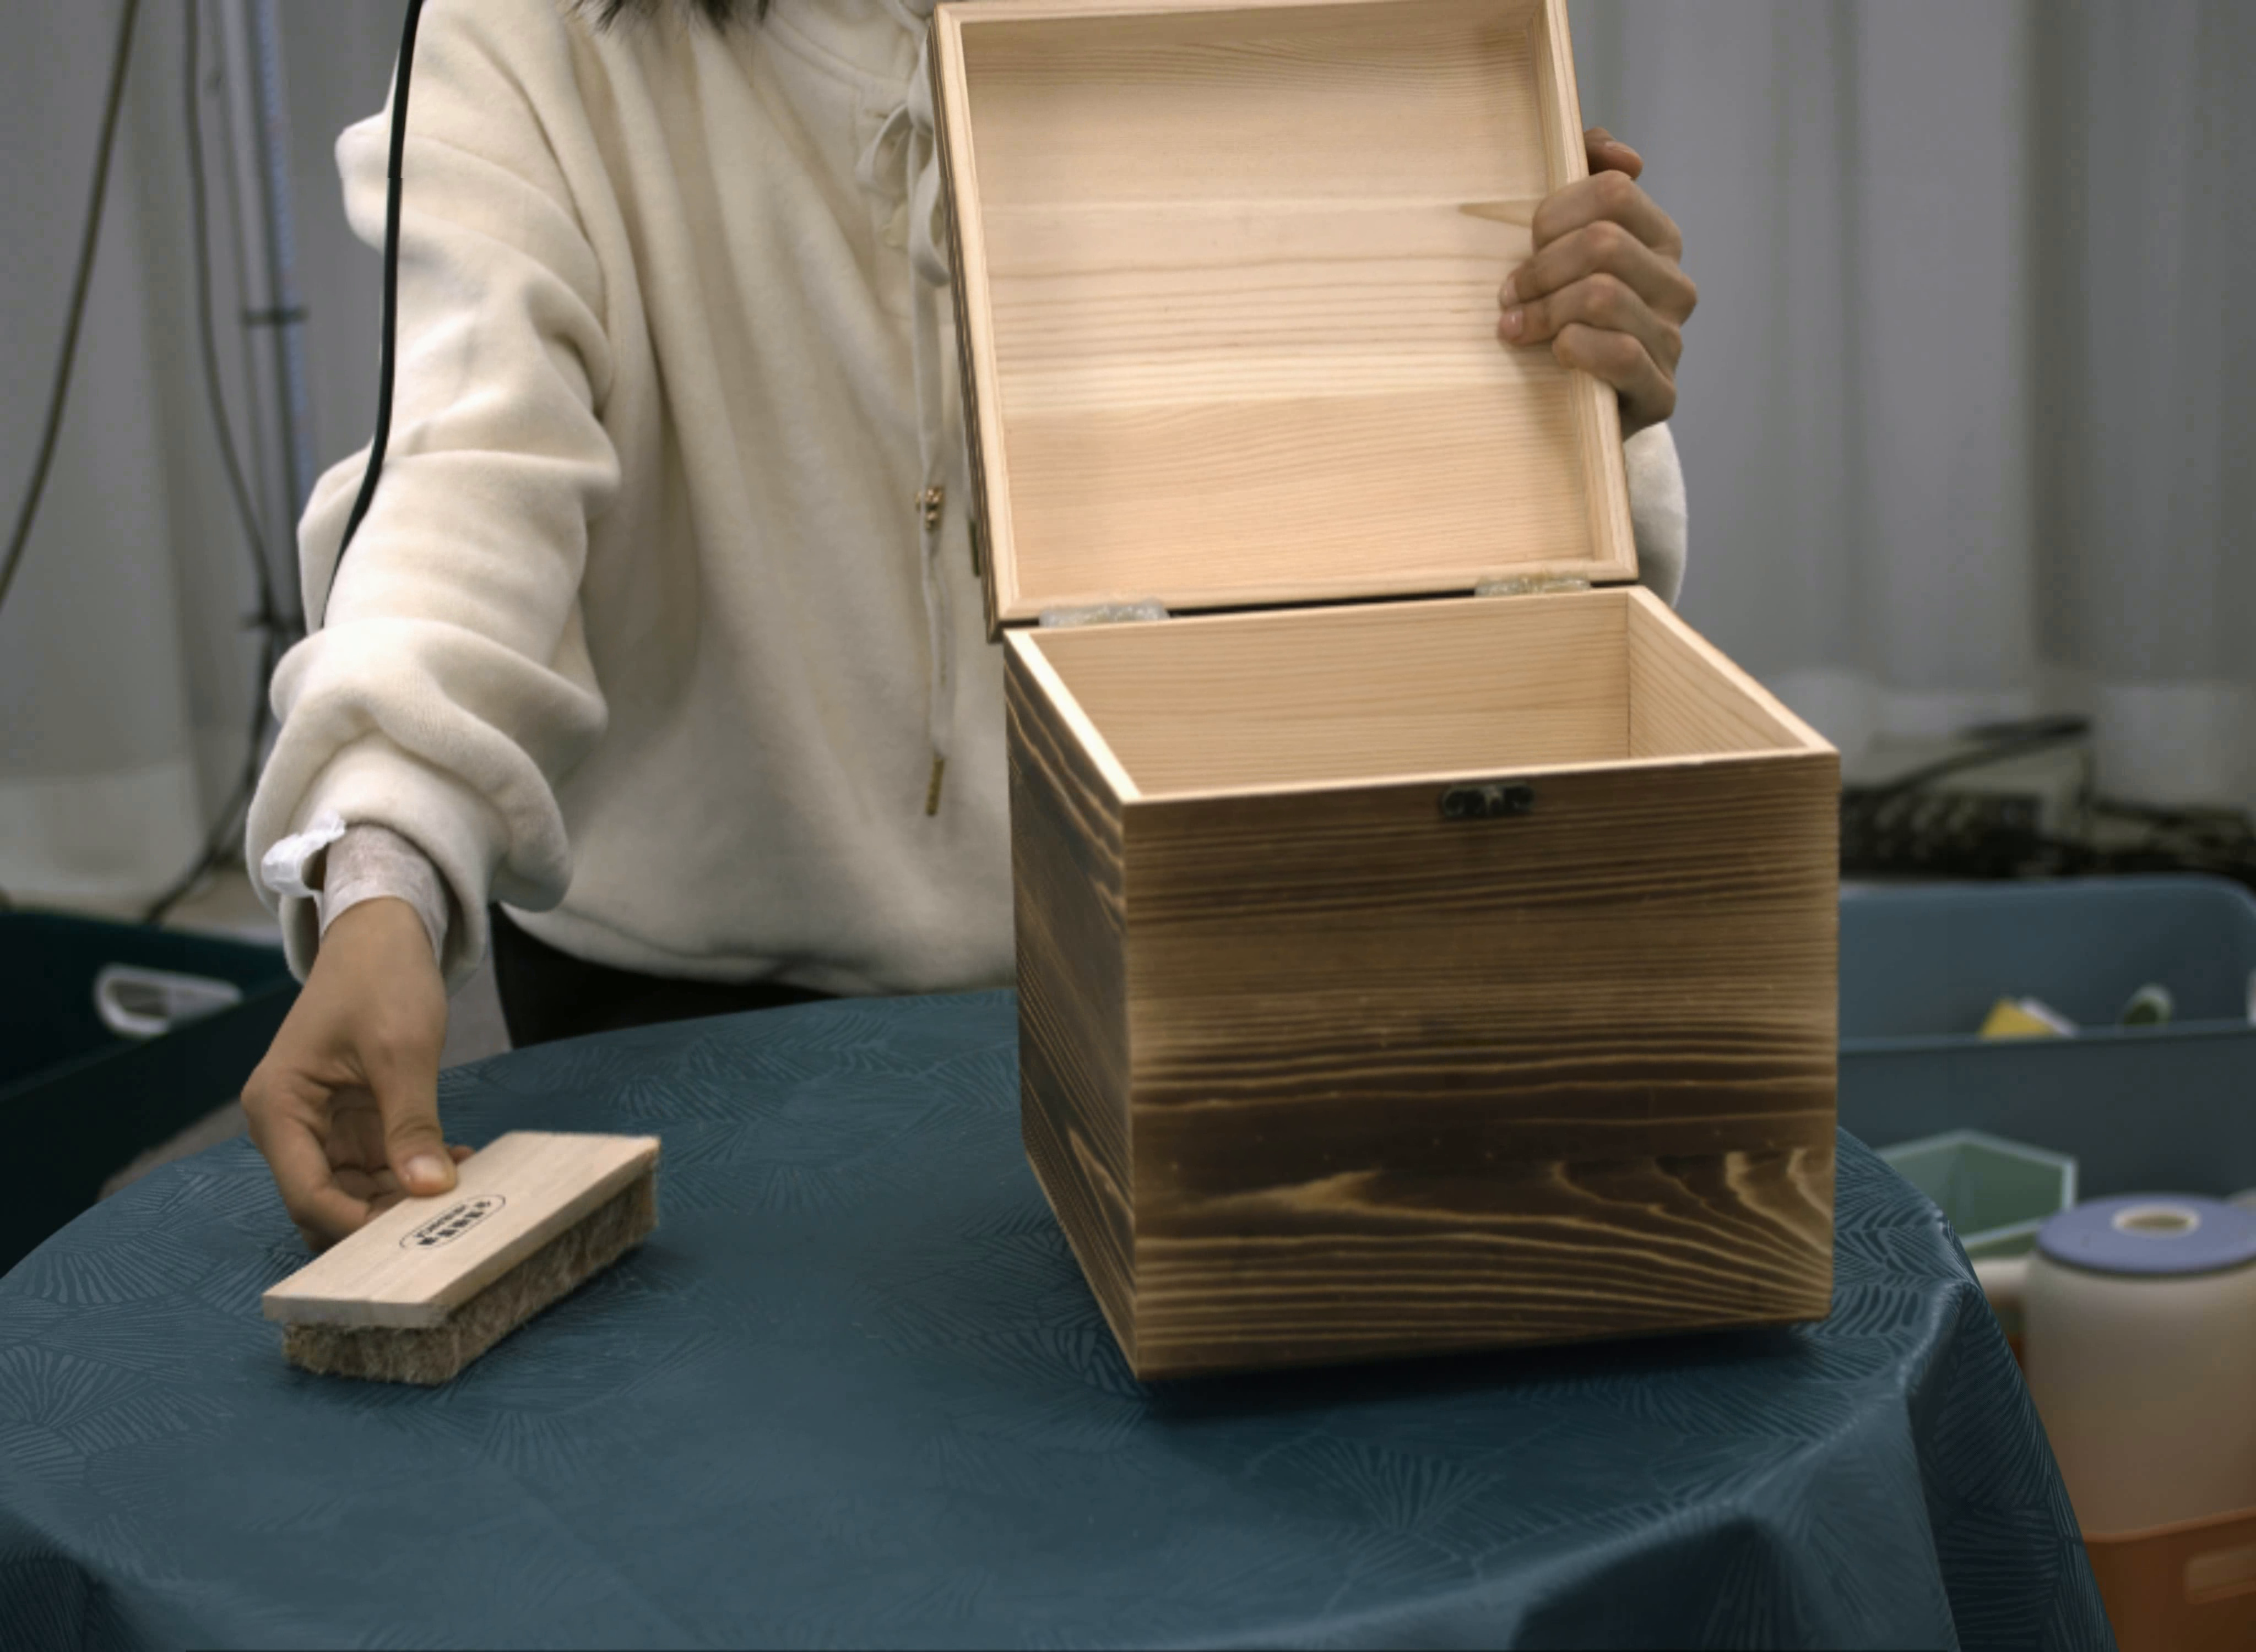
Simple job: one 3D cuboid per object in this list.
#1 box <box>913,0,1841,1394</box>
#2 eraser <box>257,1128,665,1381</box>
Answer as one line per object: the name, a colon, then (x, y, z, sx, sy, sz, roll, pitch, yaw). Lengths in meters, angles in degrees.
box: (0.066, -0.070, 1.619, 0.208, 0.373, 0.325, -5, 16, -10)
eraser: (-0.197, 0.127, 1.638, 0.057, 0.029, 0.139, 0, 17, 28)
